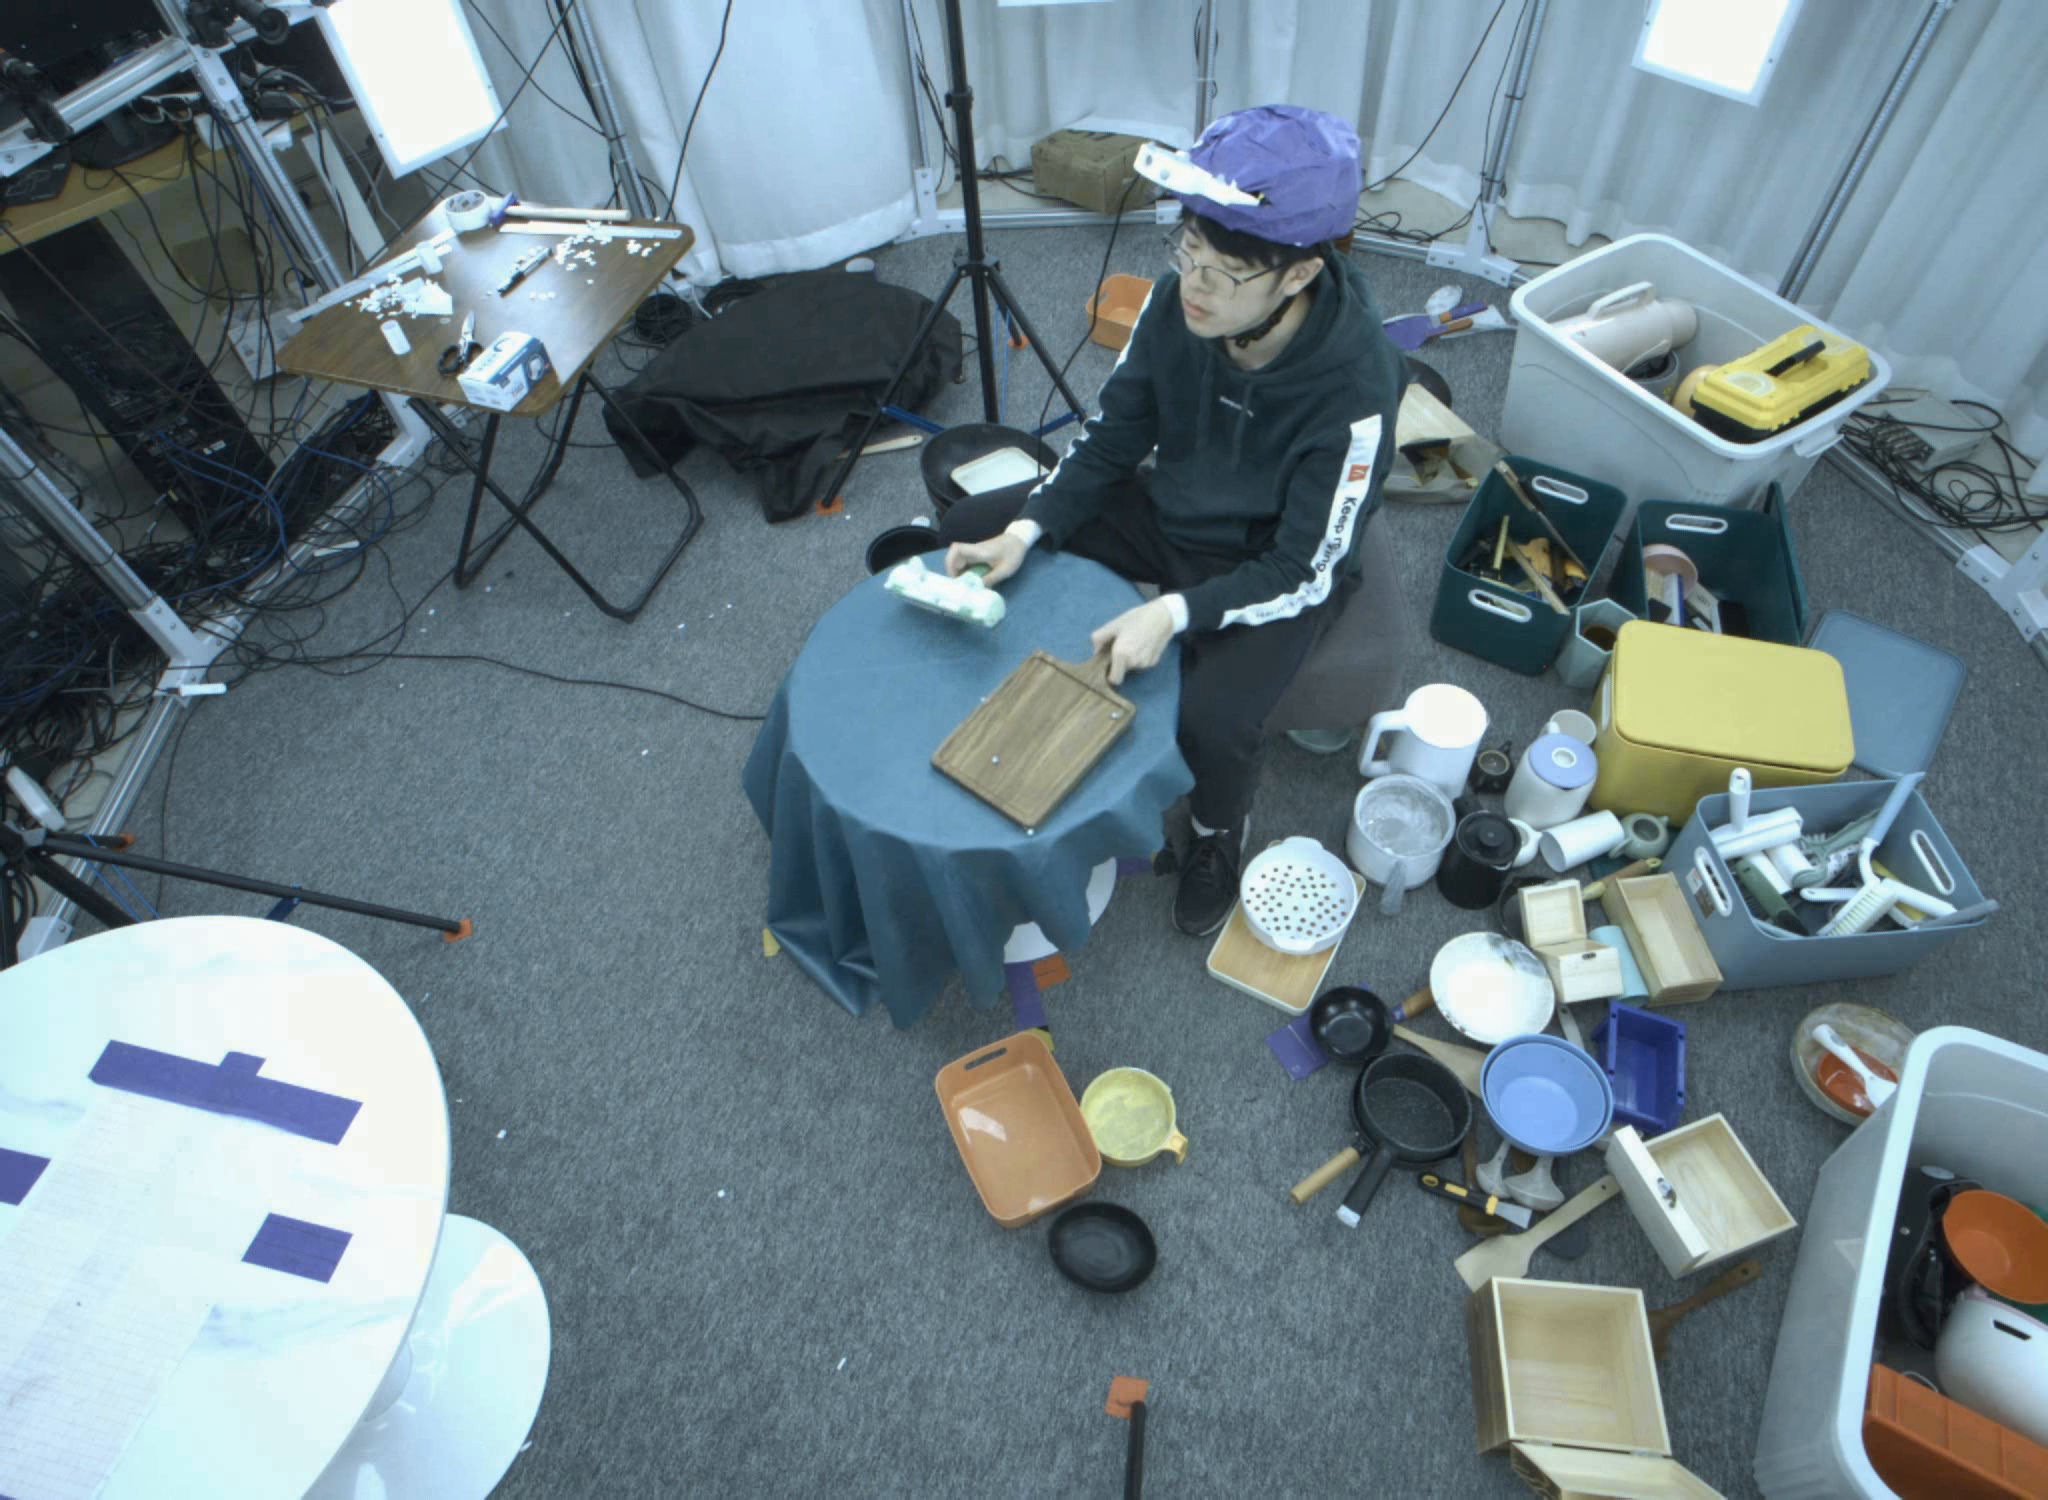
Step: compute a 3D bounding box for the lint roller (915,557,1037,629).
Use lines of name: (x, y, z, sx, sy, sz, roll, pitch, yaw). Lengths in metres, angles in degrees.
lint roller: (-0.043, -0.273, 1.909, 0.194, 0.083, 0.184, 23, 51, 29)

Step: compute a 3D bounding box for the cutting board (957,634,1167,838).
cutting board: (0.087, -0.046, 1.785, 0.197, 0.023, 0.354, 34, 67, 23)
